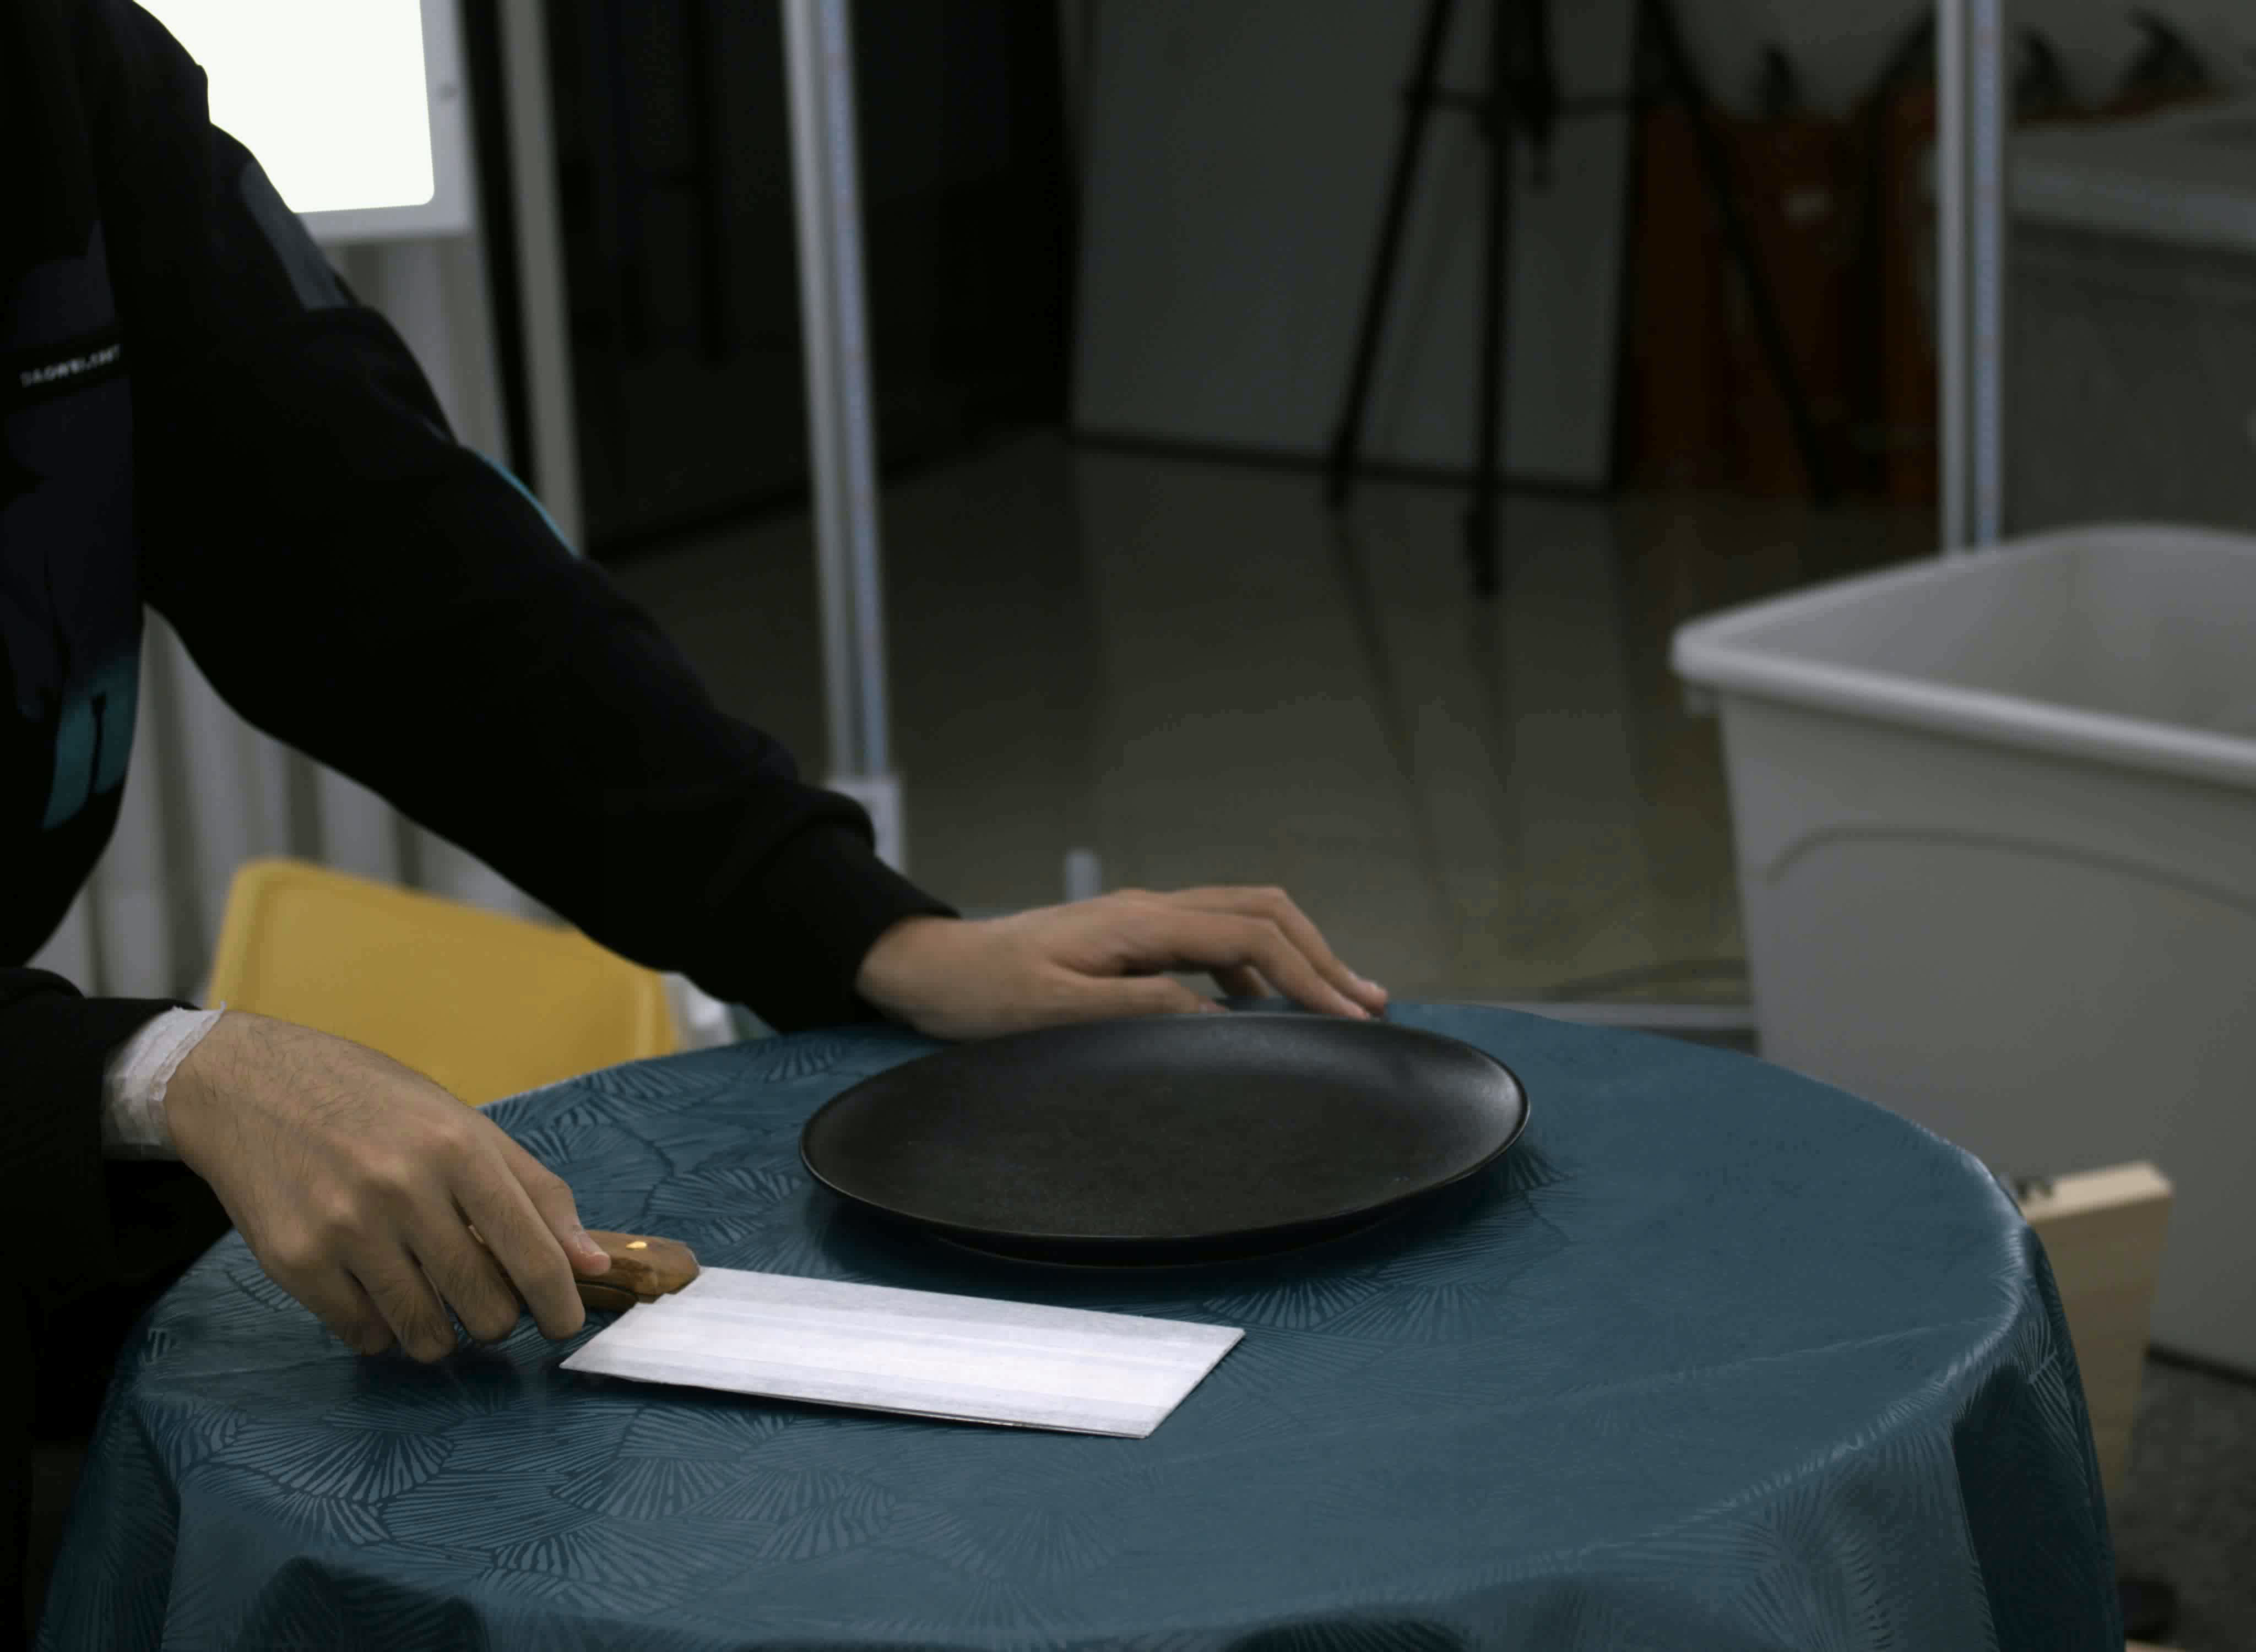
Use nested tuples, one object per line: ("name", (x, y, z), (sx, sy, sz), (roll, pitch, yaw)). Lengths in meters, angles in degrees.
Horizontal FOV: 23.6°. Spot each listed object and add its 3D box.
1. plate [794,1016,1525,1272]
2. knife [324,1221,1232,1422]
("plate", (0.011, 0.107, 1.775), (0.241, 0.024, 0.245), (-4, 14, 0))
("knife", (-0.119, 0.154, 1.643), (0.305, 0.021, 0.092), (4, 17, 22))
